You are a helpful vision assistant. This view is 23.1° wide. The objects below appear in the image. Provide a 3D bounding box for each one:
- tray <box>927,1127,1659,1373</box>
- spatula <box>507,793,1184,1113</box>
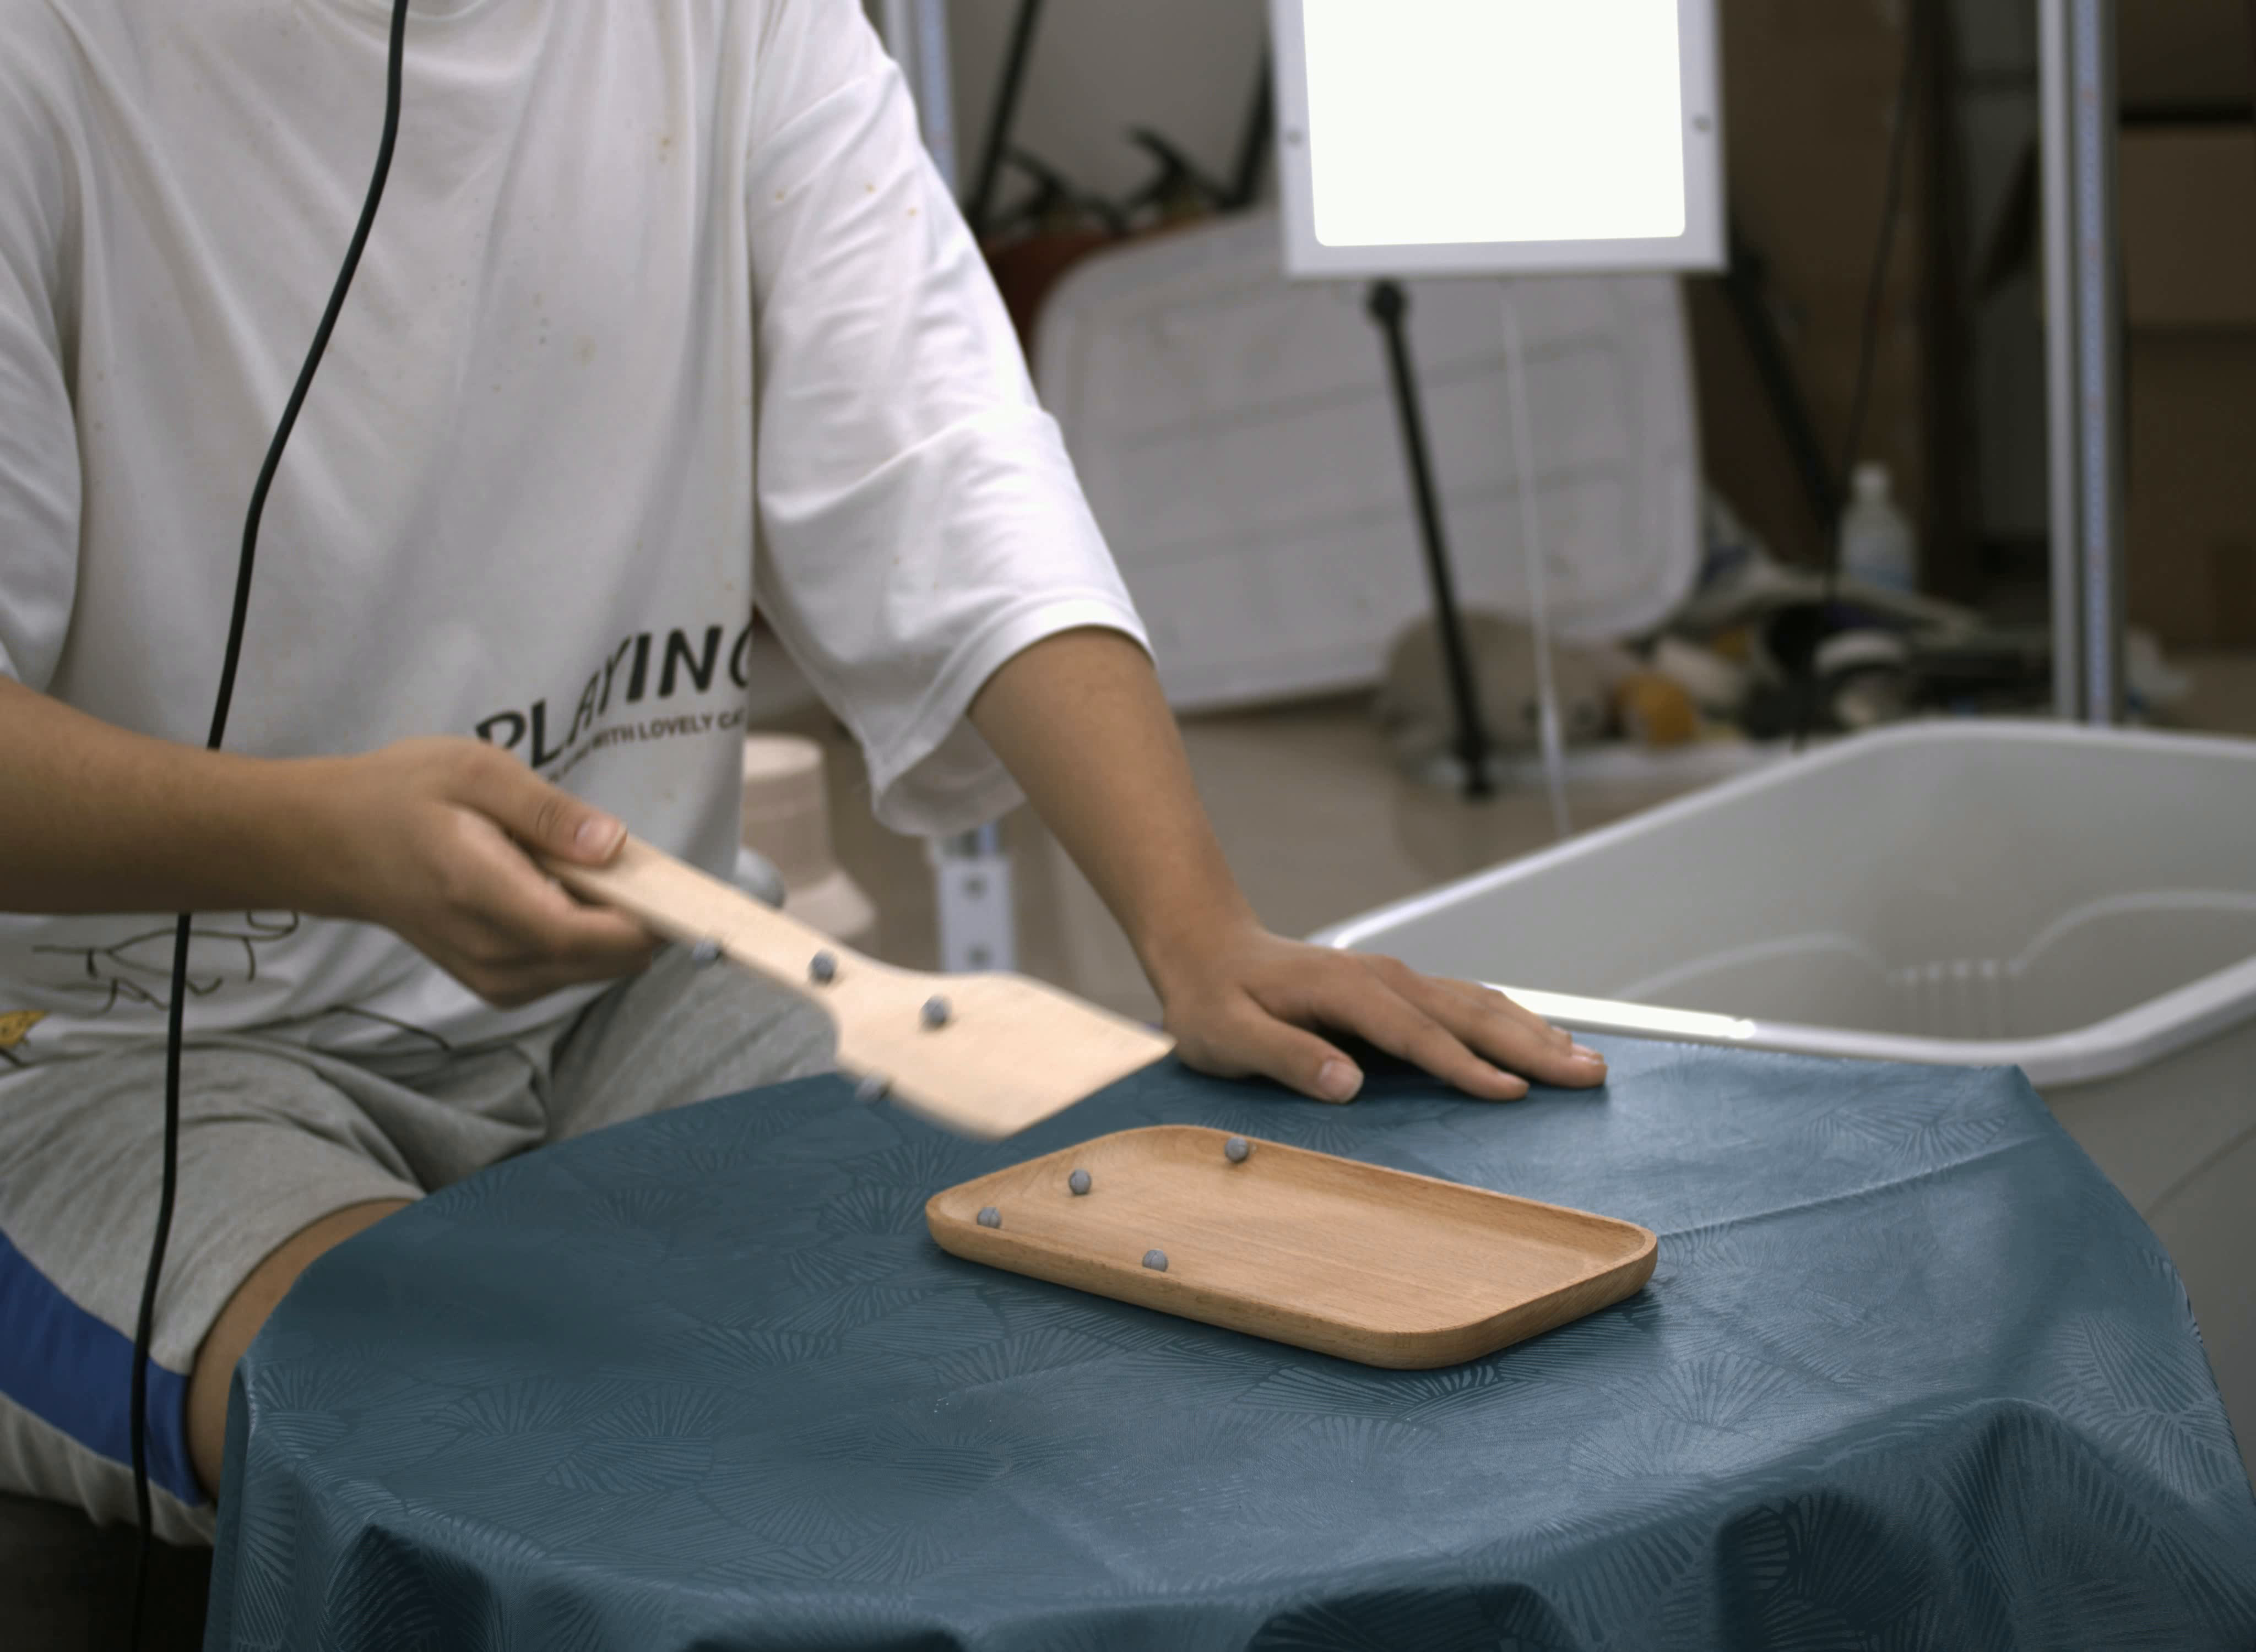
[{"bbox_3d":[0.051,0.137,1.804,0.127,0.023,0.256,-19,19,-37],"label":"tray"},{"bbox_3d":[-0.104,0.036,1.752,0.070,0.011,0.299,-25,32,-34],"label":"spatula"}]
